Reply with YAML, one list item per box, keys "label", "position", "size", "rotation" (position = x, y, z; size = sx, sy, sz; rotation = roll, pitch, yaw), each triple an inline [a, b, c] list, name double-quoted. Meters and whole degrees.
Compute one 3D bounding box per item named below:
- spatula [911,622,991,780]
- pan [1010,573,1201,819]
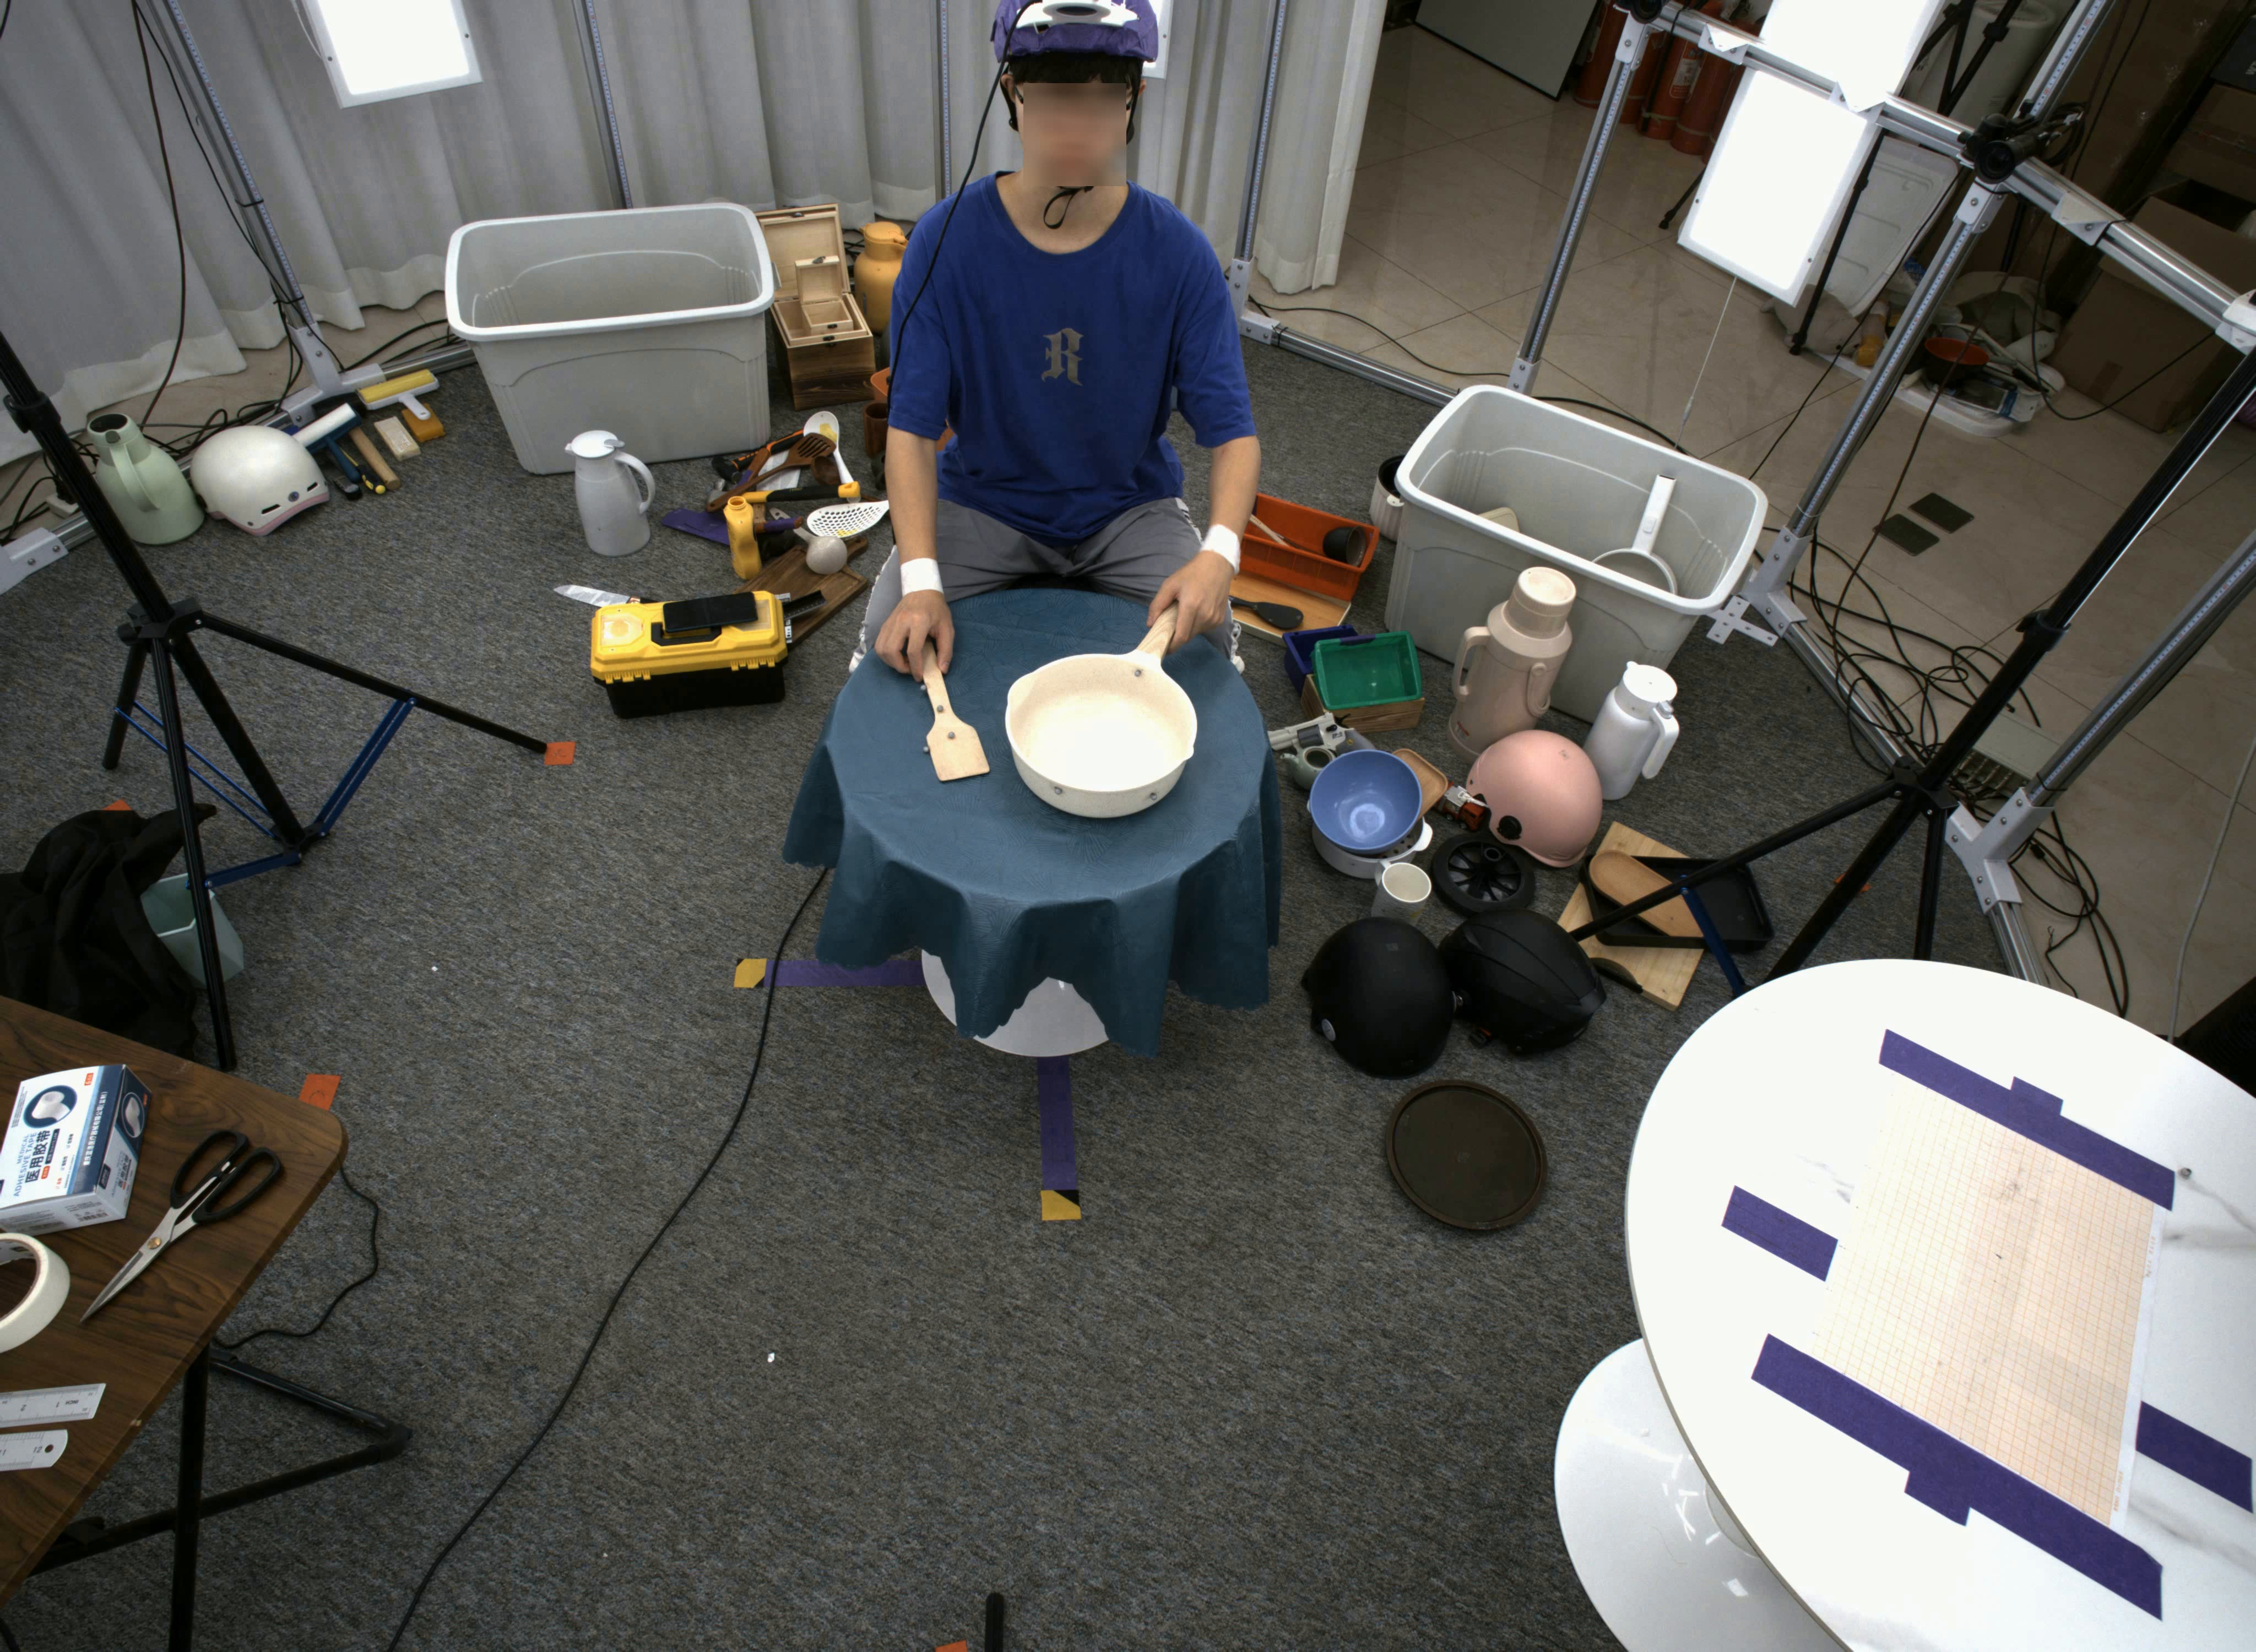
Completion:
- label: "spatula"
  position: [-0.261, -0.181, 1.801]
  size: [0.072, 0.010, 0.300]
  rotation: [-12, 55, -13]
- label: "pan"
  position: [0.007, -0.182, 1.766]
  size: [0.265, 0.099, 0.443]
  rotation: [20, 51, 15]
